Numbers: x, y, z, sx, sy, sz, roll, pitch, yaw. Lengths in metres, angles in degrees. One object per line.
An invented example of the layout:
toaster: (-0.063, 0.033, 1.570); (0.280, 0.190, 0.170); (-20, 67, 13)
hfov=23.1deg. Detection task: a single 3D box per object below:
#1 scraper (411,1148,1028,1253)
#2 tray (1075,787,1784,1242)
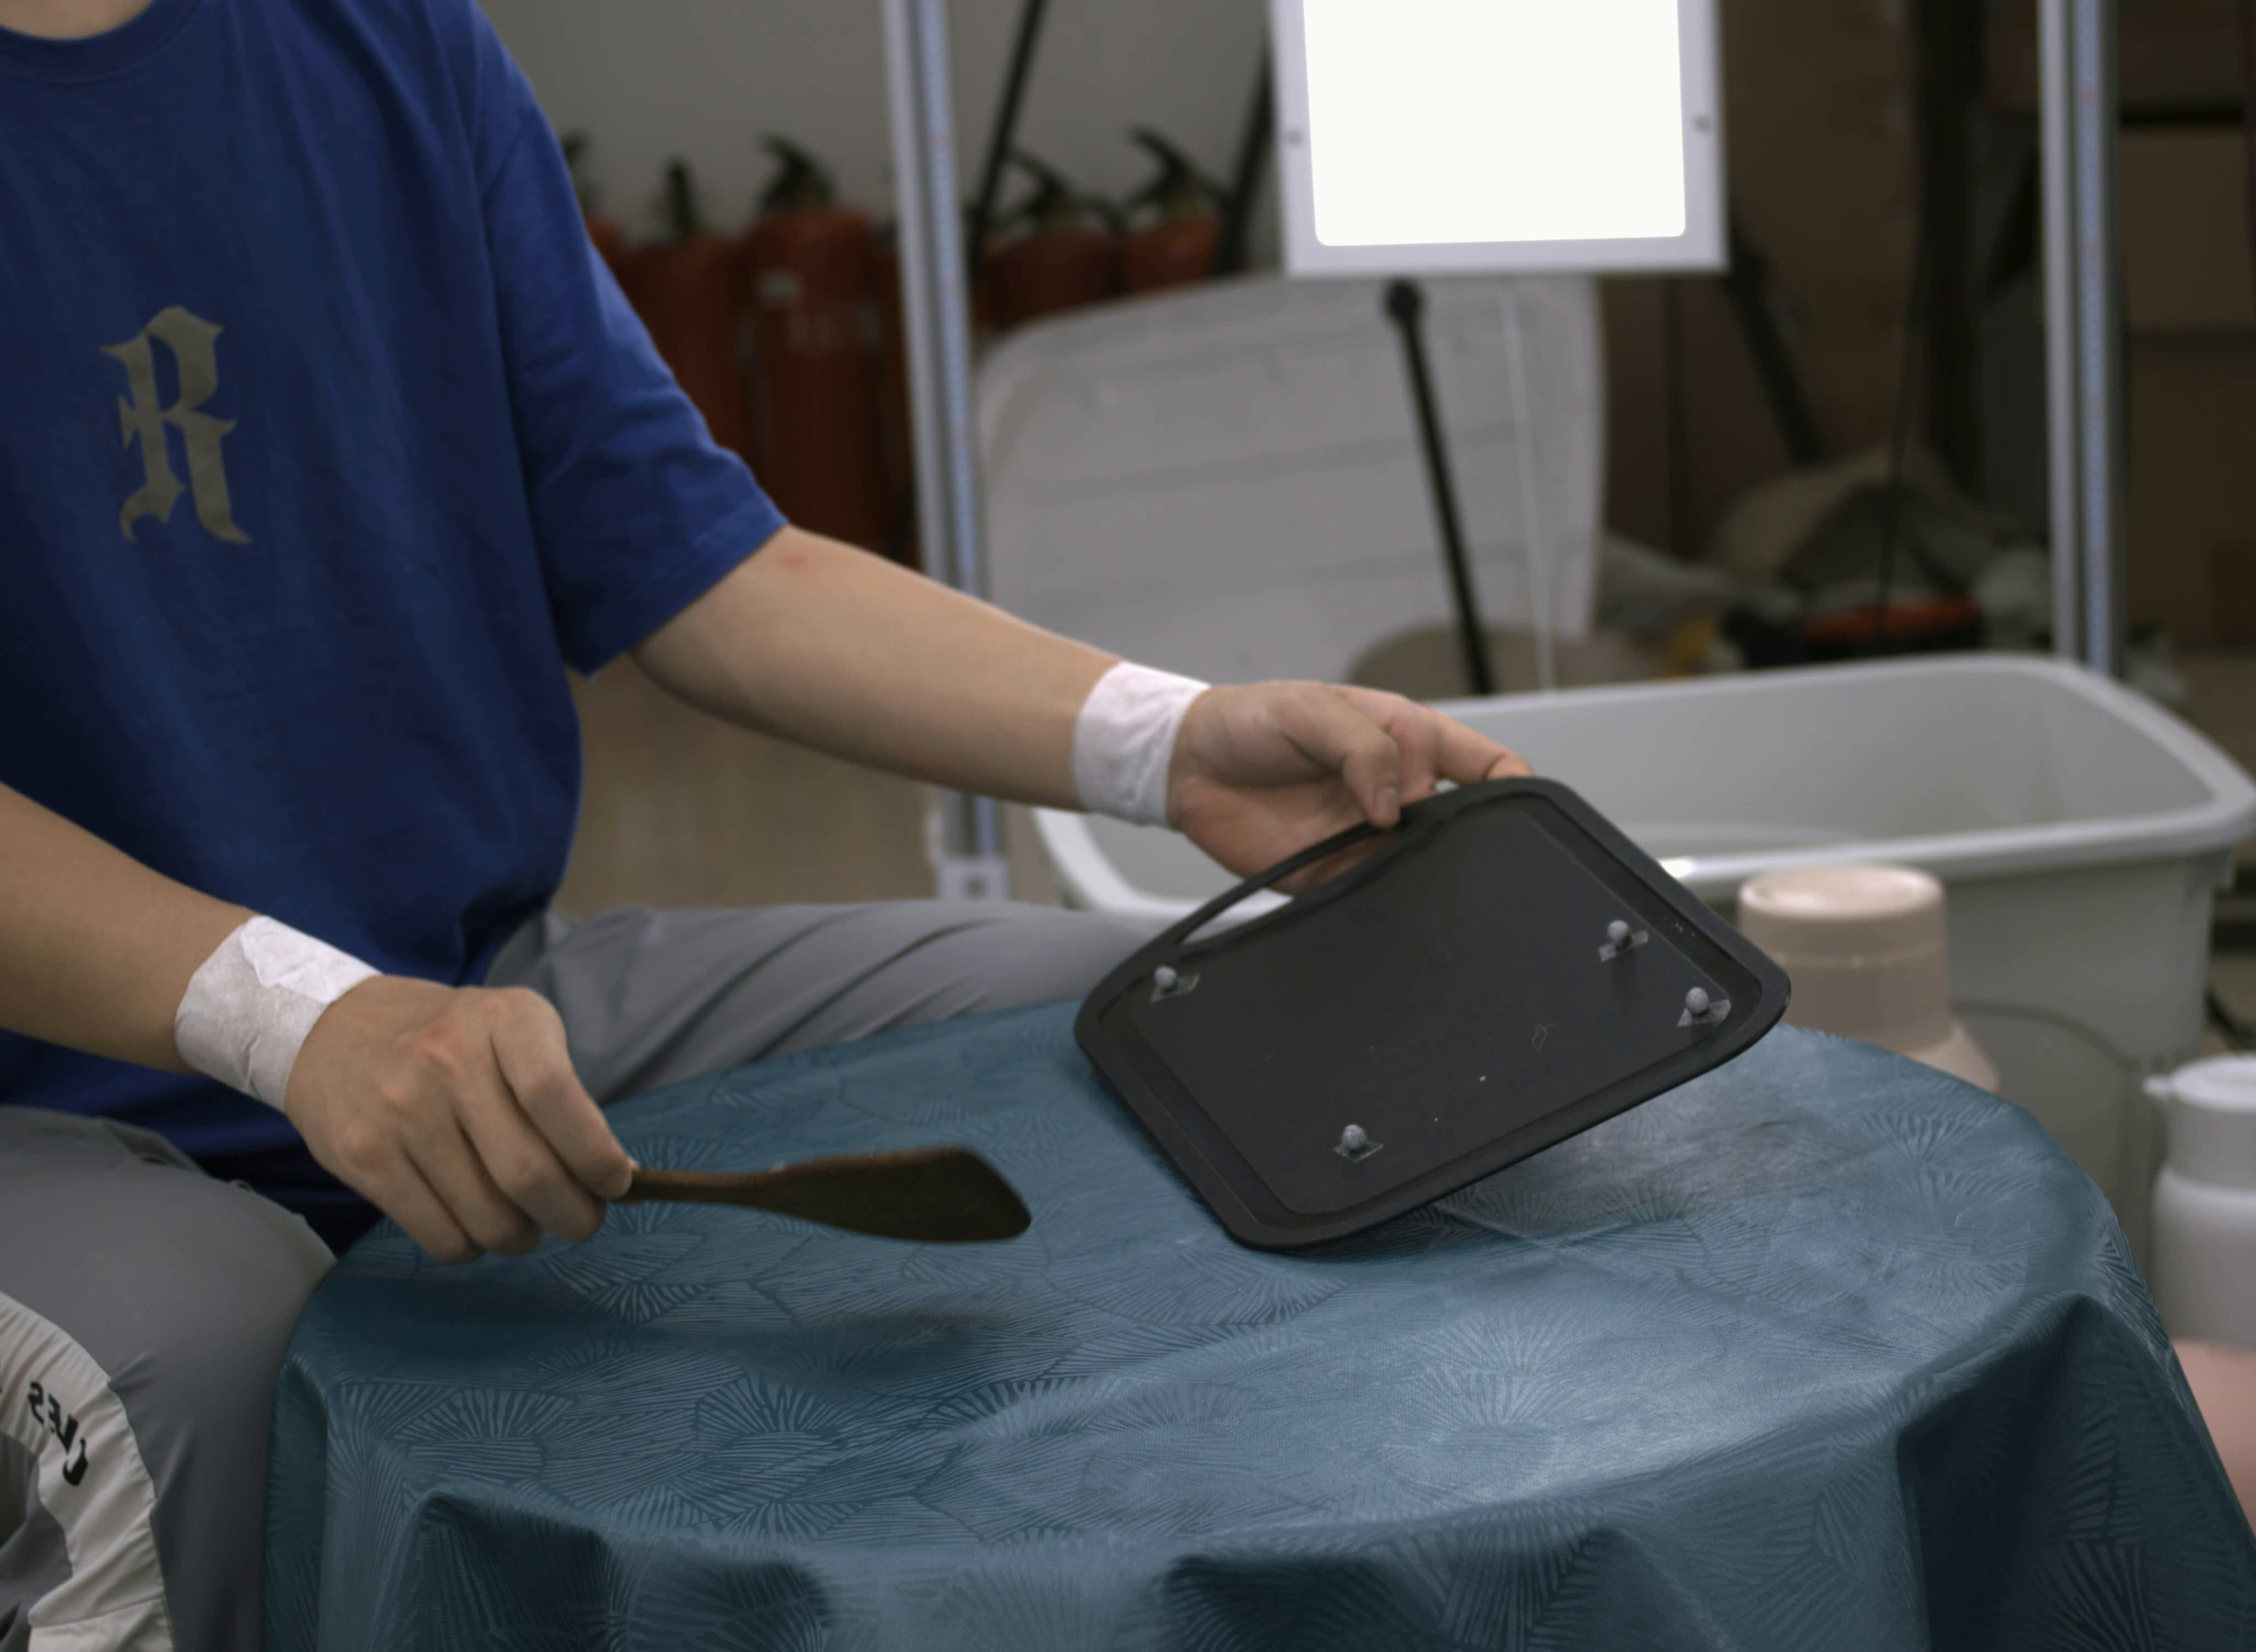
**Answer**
scraper: (-0.137, 0.120, 1.792); (0.214, 0.011, 0.075); (1, -25, 23)
tray: (0.097, 0.059, 1.959); (0.210, 0.010, 0.328); (-26, 20, -5)
